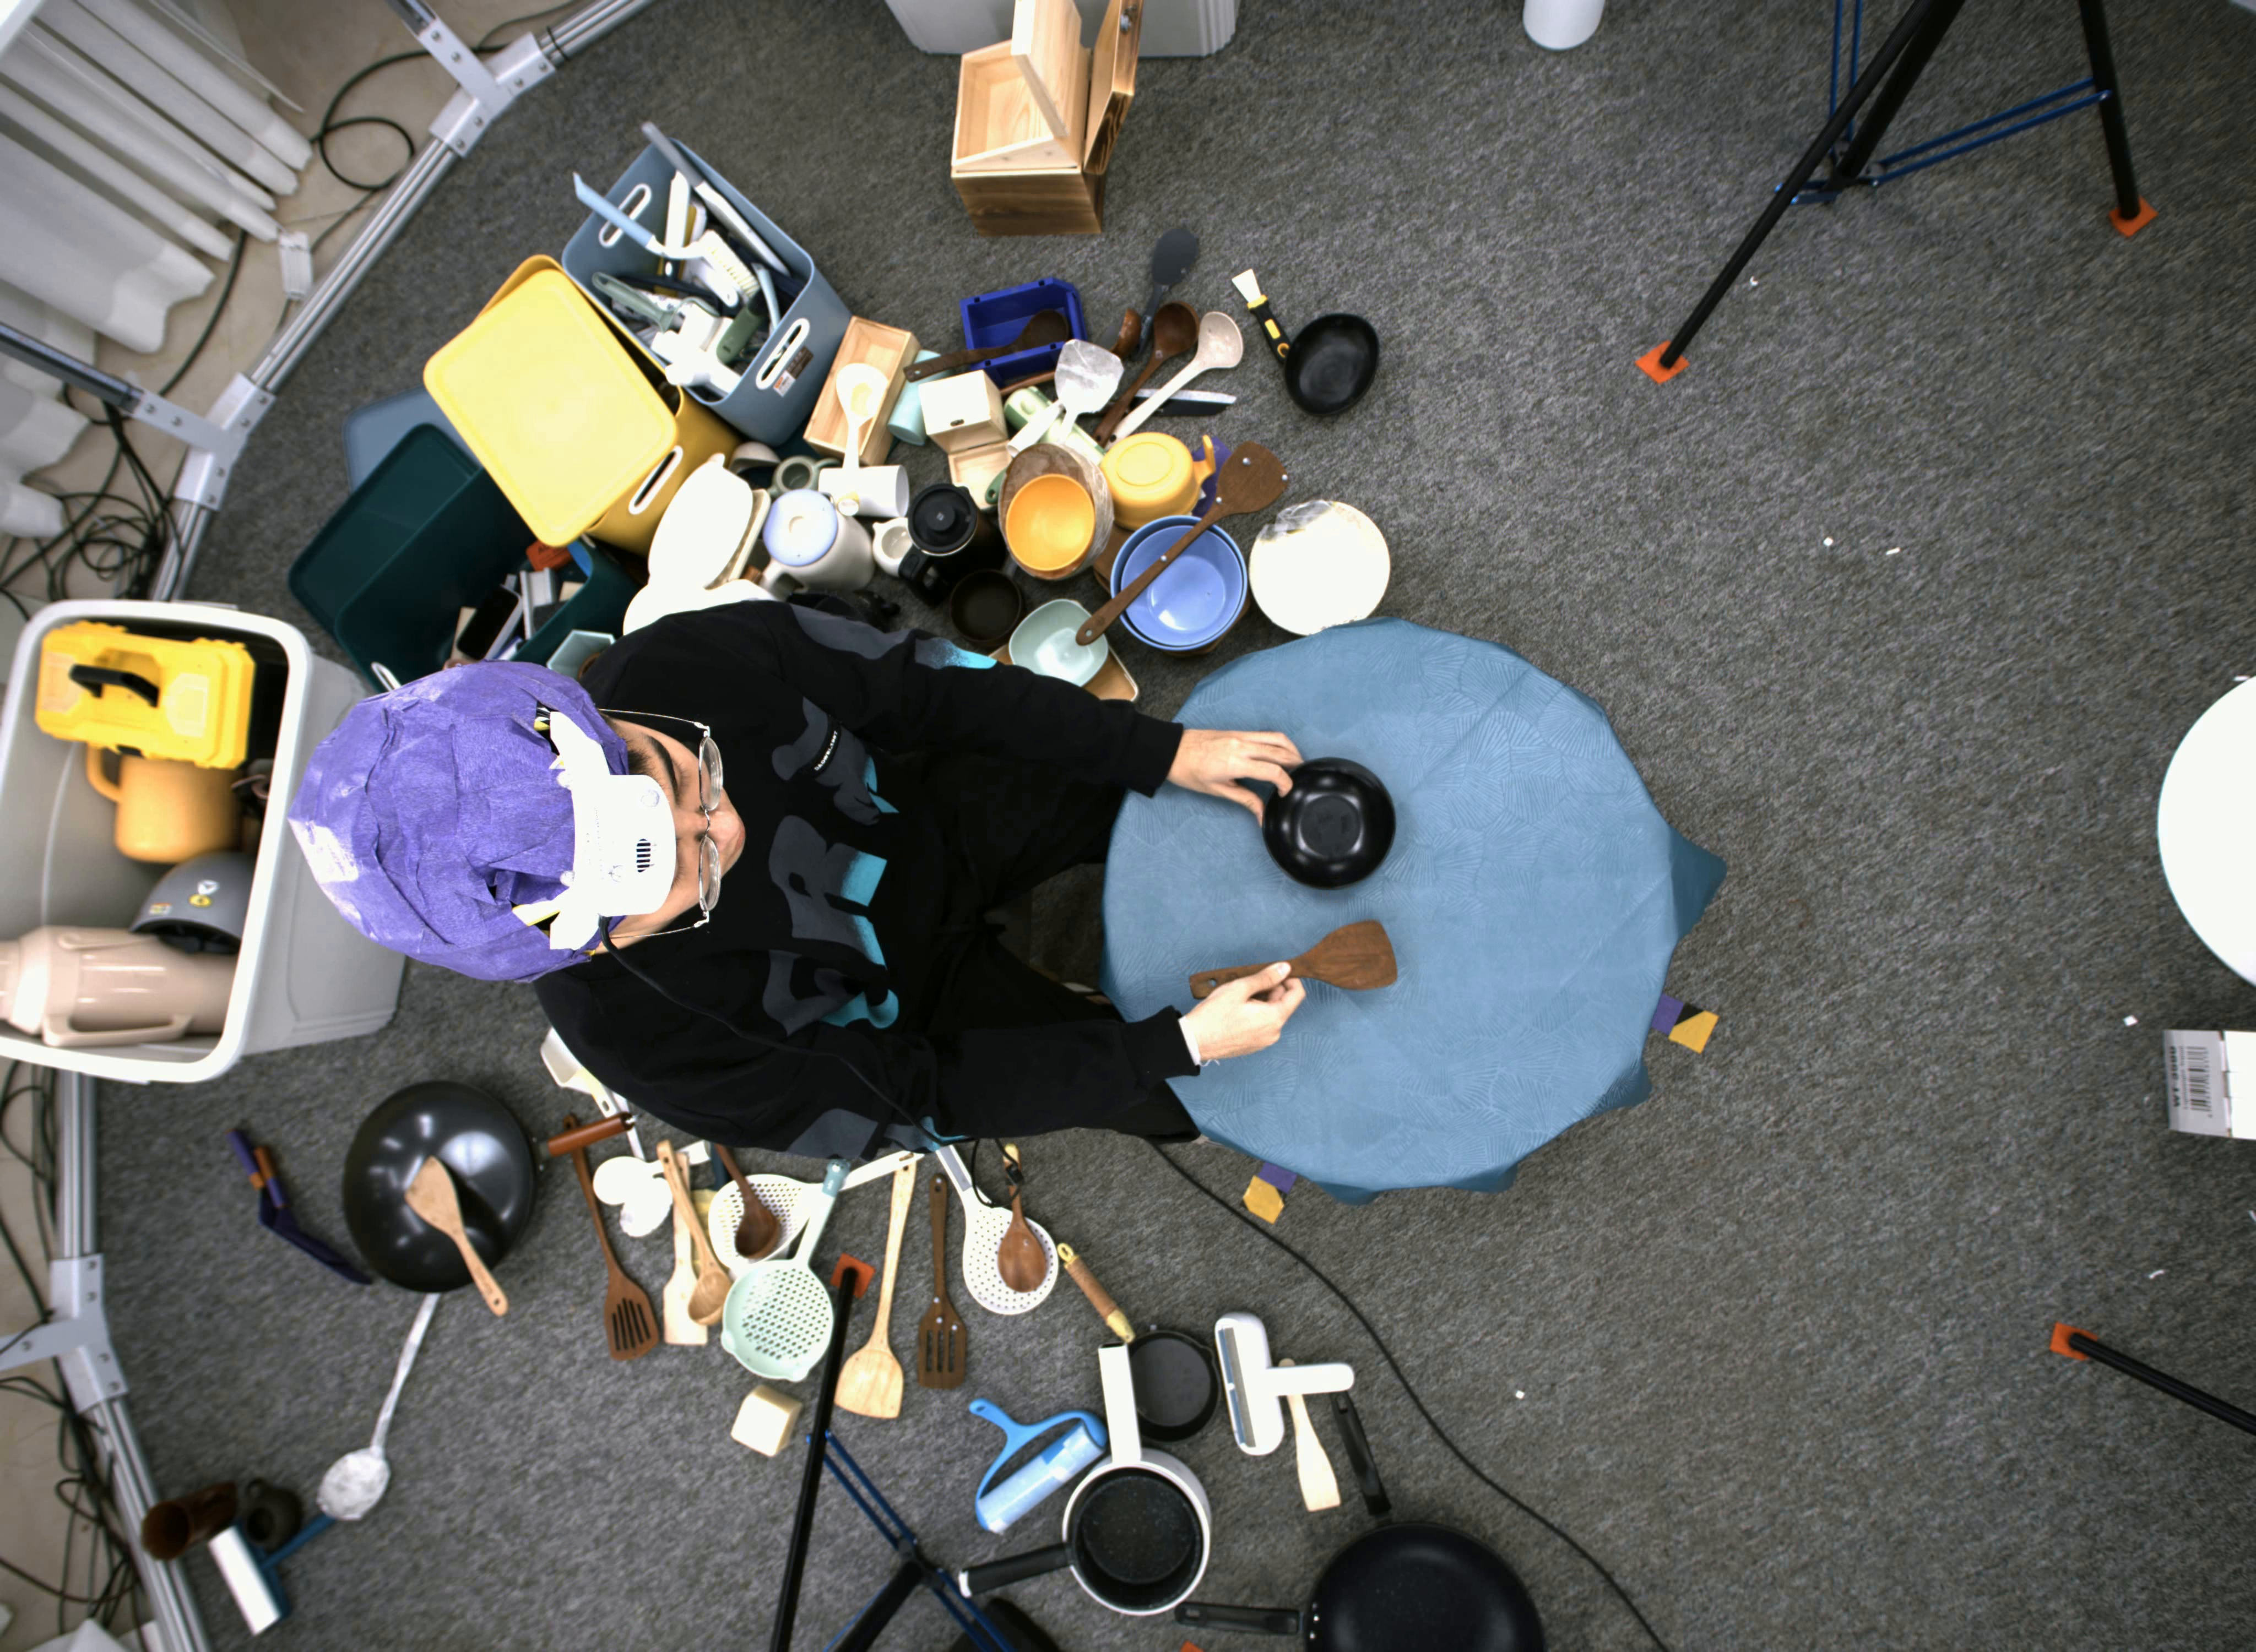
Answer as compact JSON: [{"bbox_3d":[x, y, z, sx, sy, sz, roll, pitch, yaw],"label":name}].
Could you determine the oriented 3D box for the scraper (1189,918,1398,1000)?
[{"bbox_3d":[0.166,0.144,1.401,0.211,0.011,0.074,-10,67,-4],"label":"scraper"}]

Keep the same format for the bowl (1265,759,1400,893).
[{"bbox_3d":[0.214,0.000,1.453,0.140,0.049,0.140,0,91,9],"label":"bowl"}]
